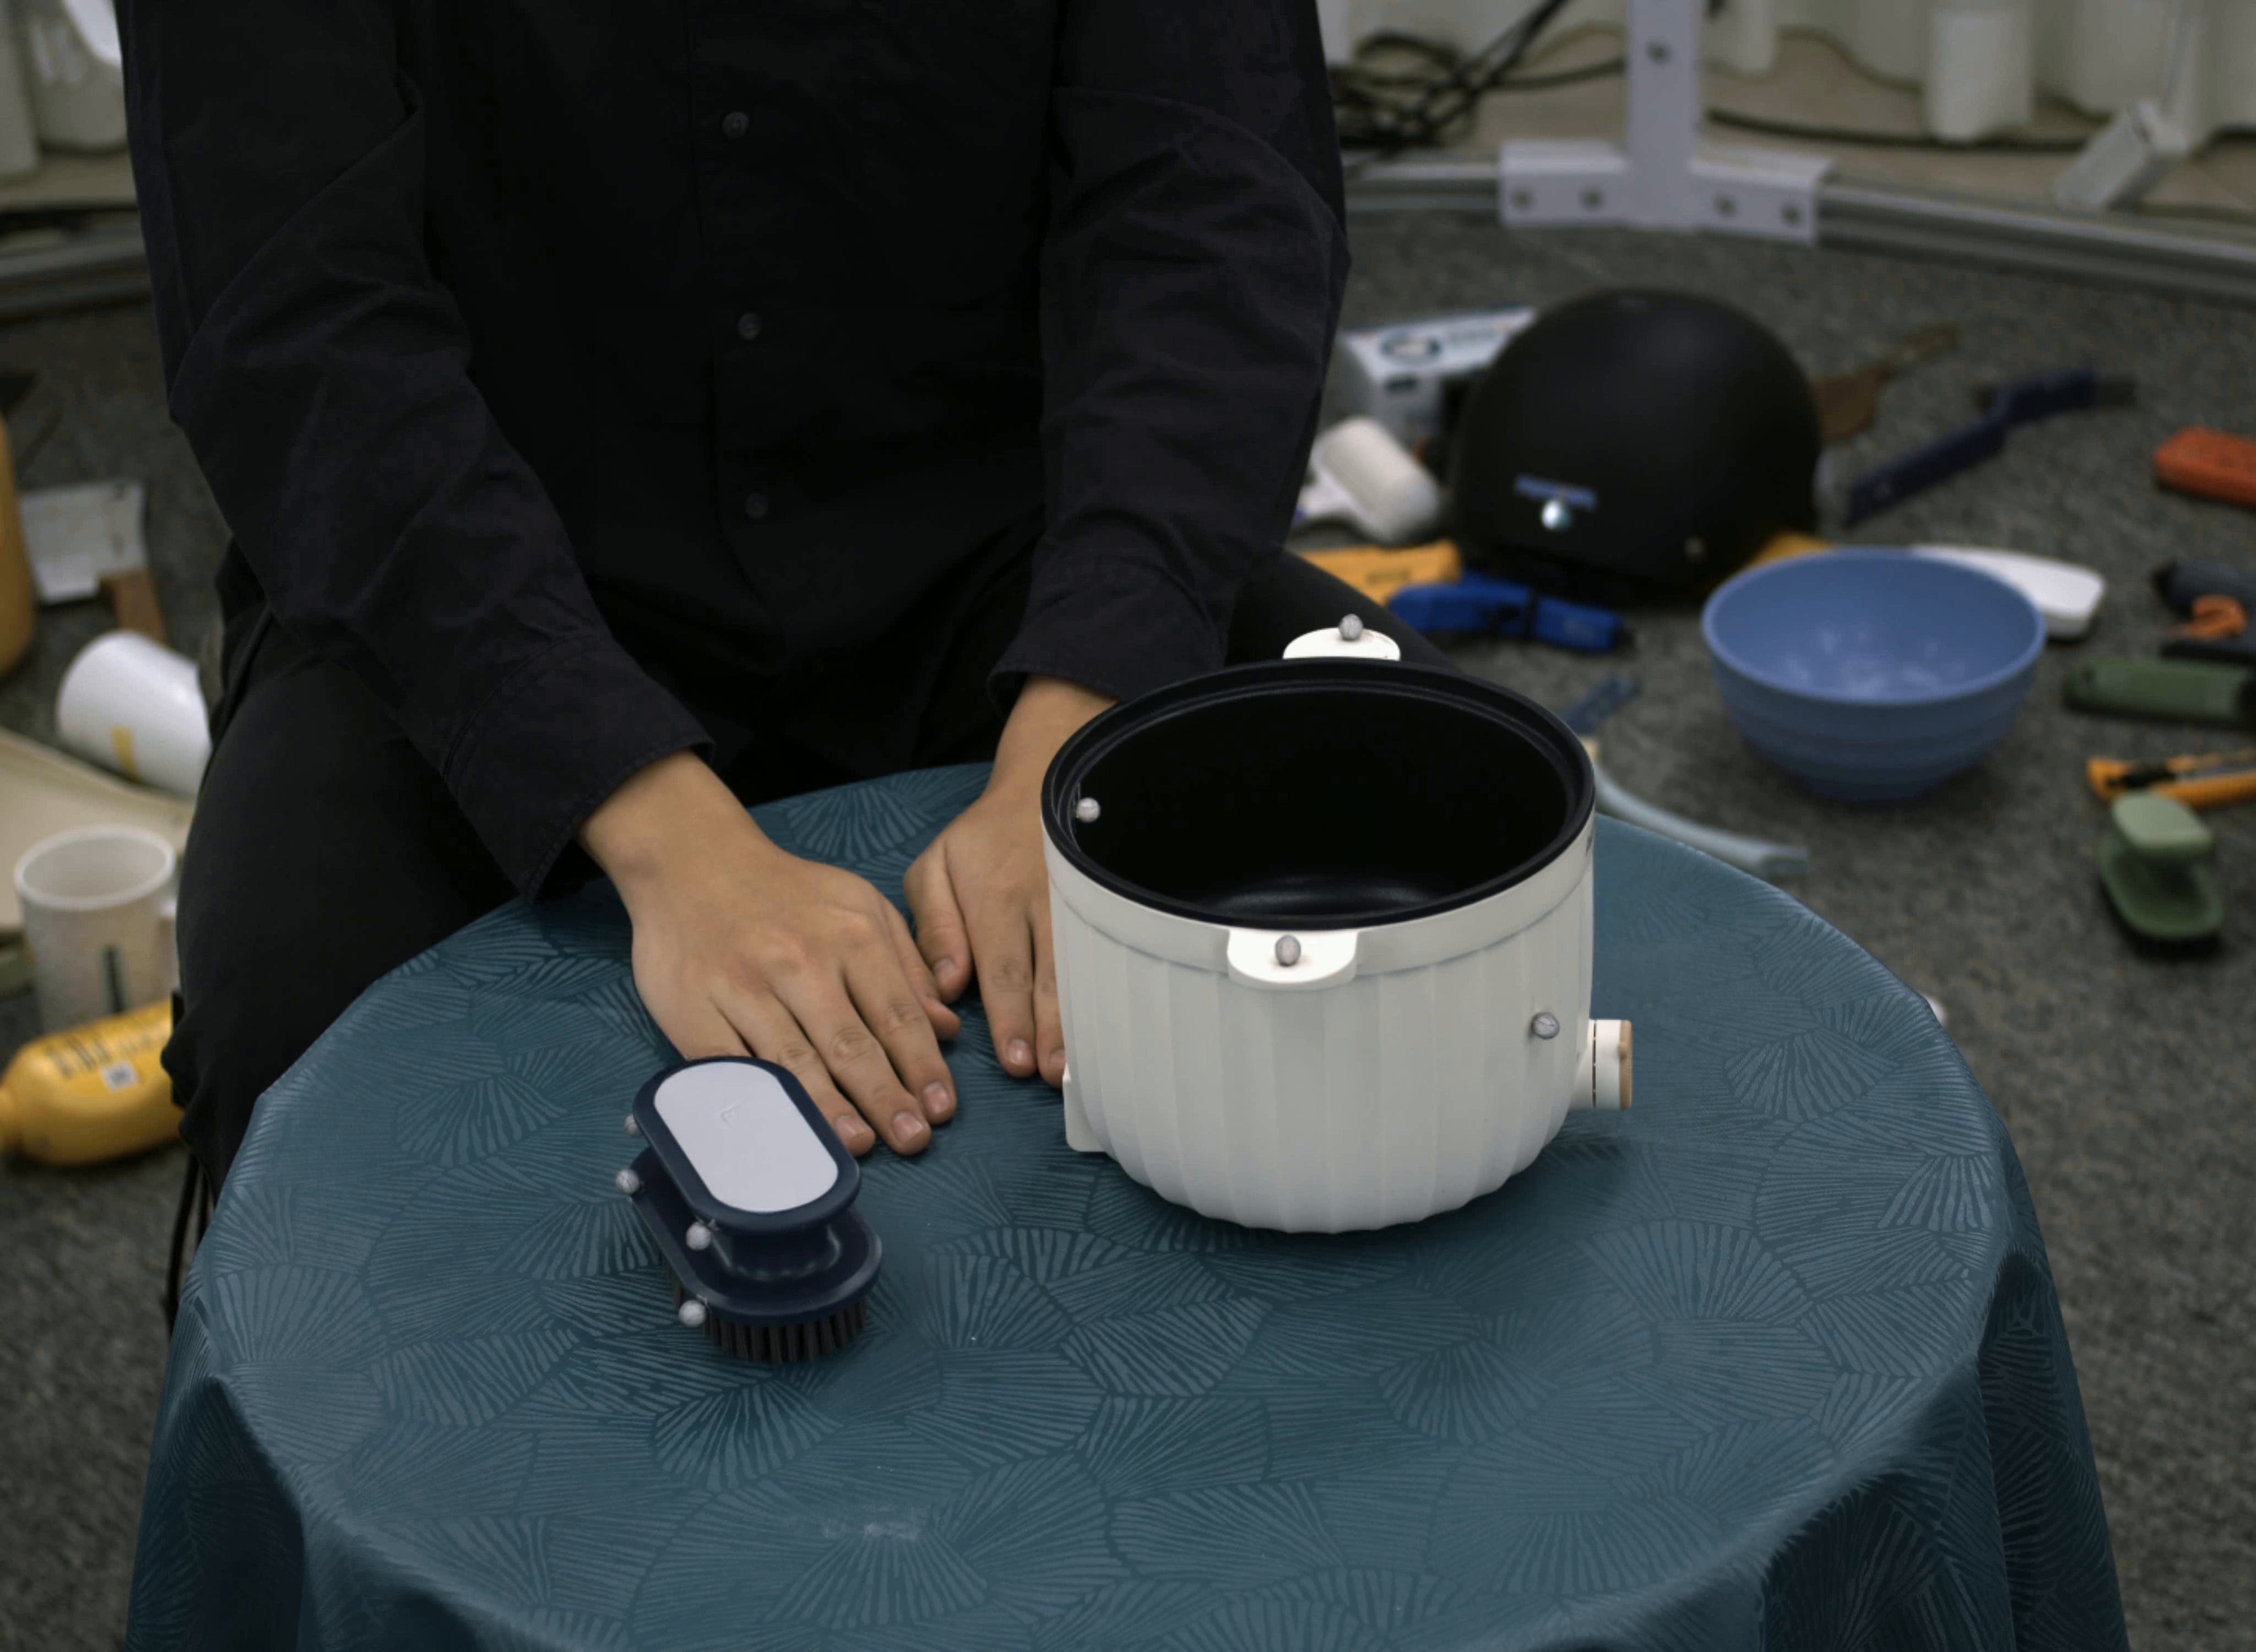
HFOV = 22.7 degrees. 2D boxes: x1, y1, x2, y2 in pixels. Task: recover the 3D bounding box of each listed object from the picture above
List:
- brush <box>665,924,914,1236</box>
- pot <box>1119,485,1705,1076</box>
[{"bbox_3d":[-0.111,0.085,1.836,0.068,0.060,0.123,-14,33,-13],"label":"brush"},{"bbox_3d":[0.096,-0.007,1.882,0.189,0.141,0.244,-2,29,7],"label":"pot"}]
